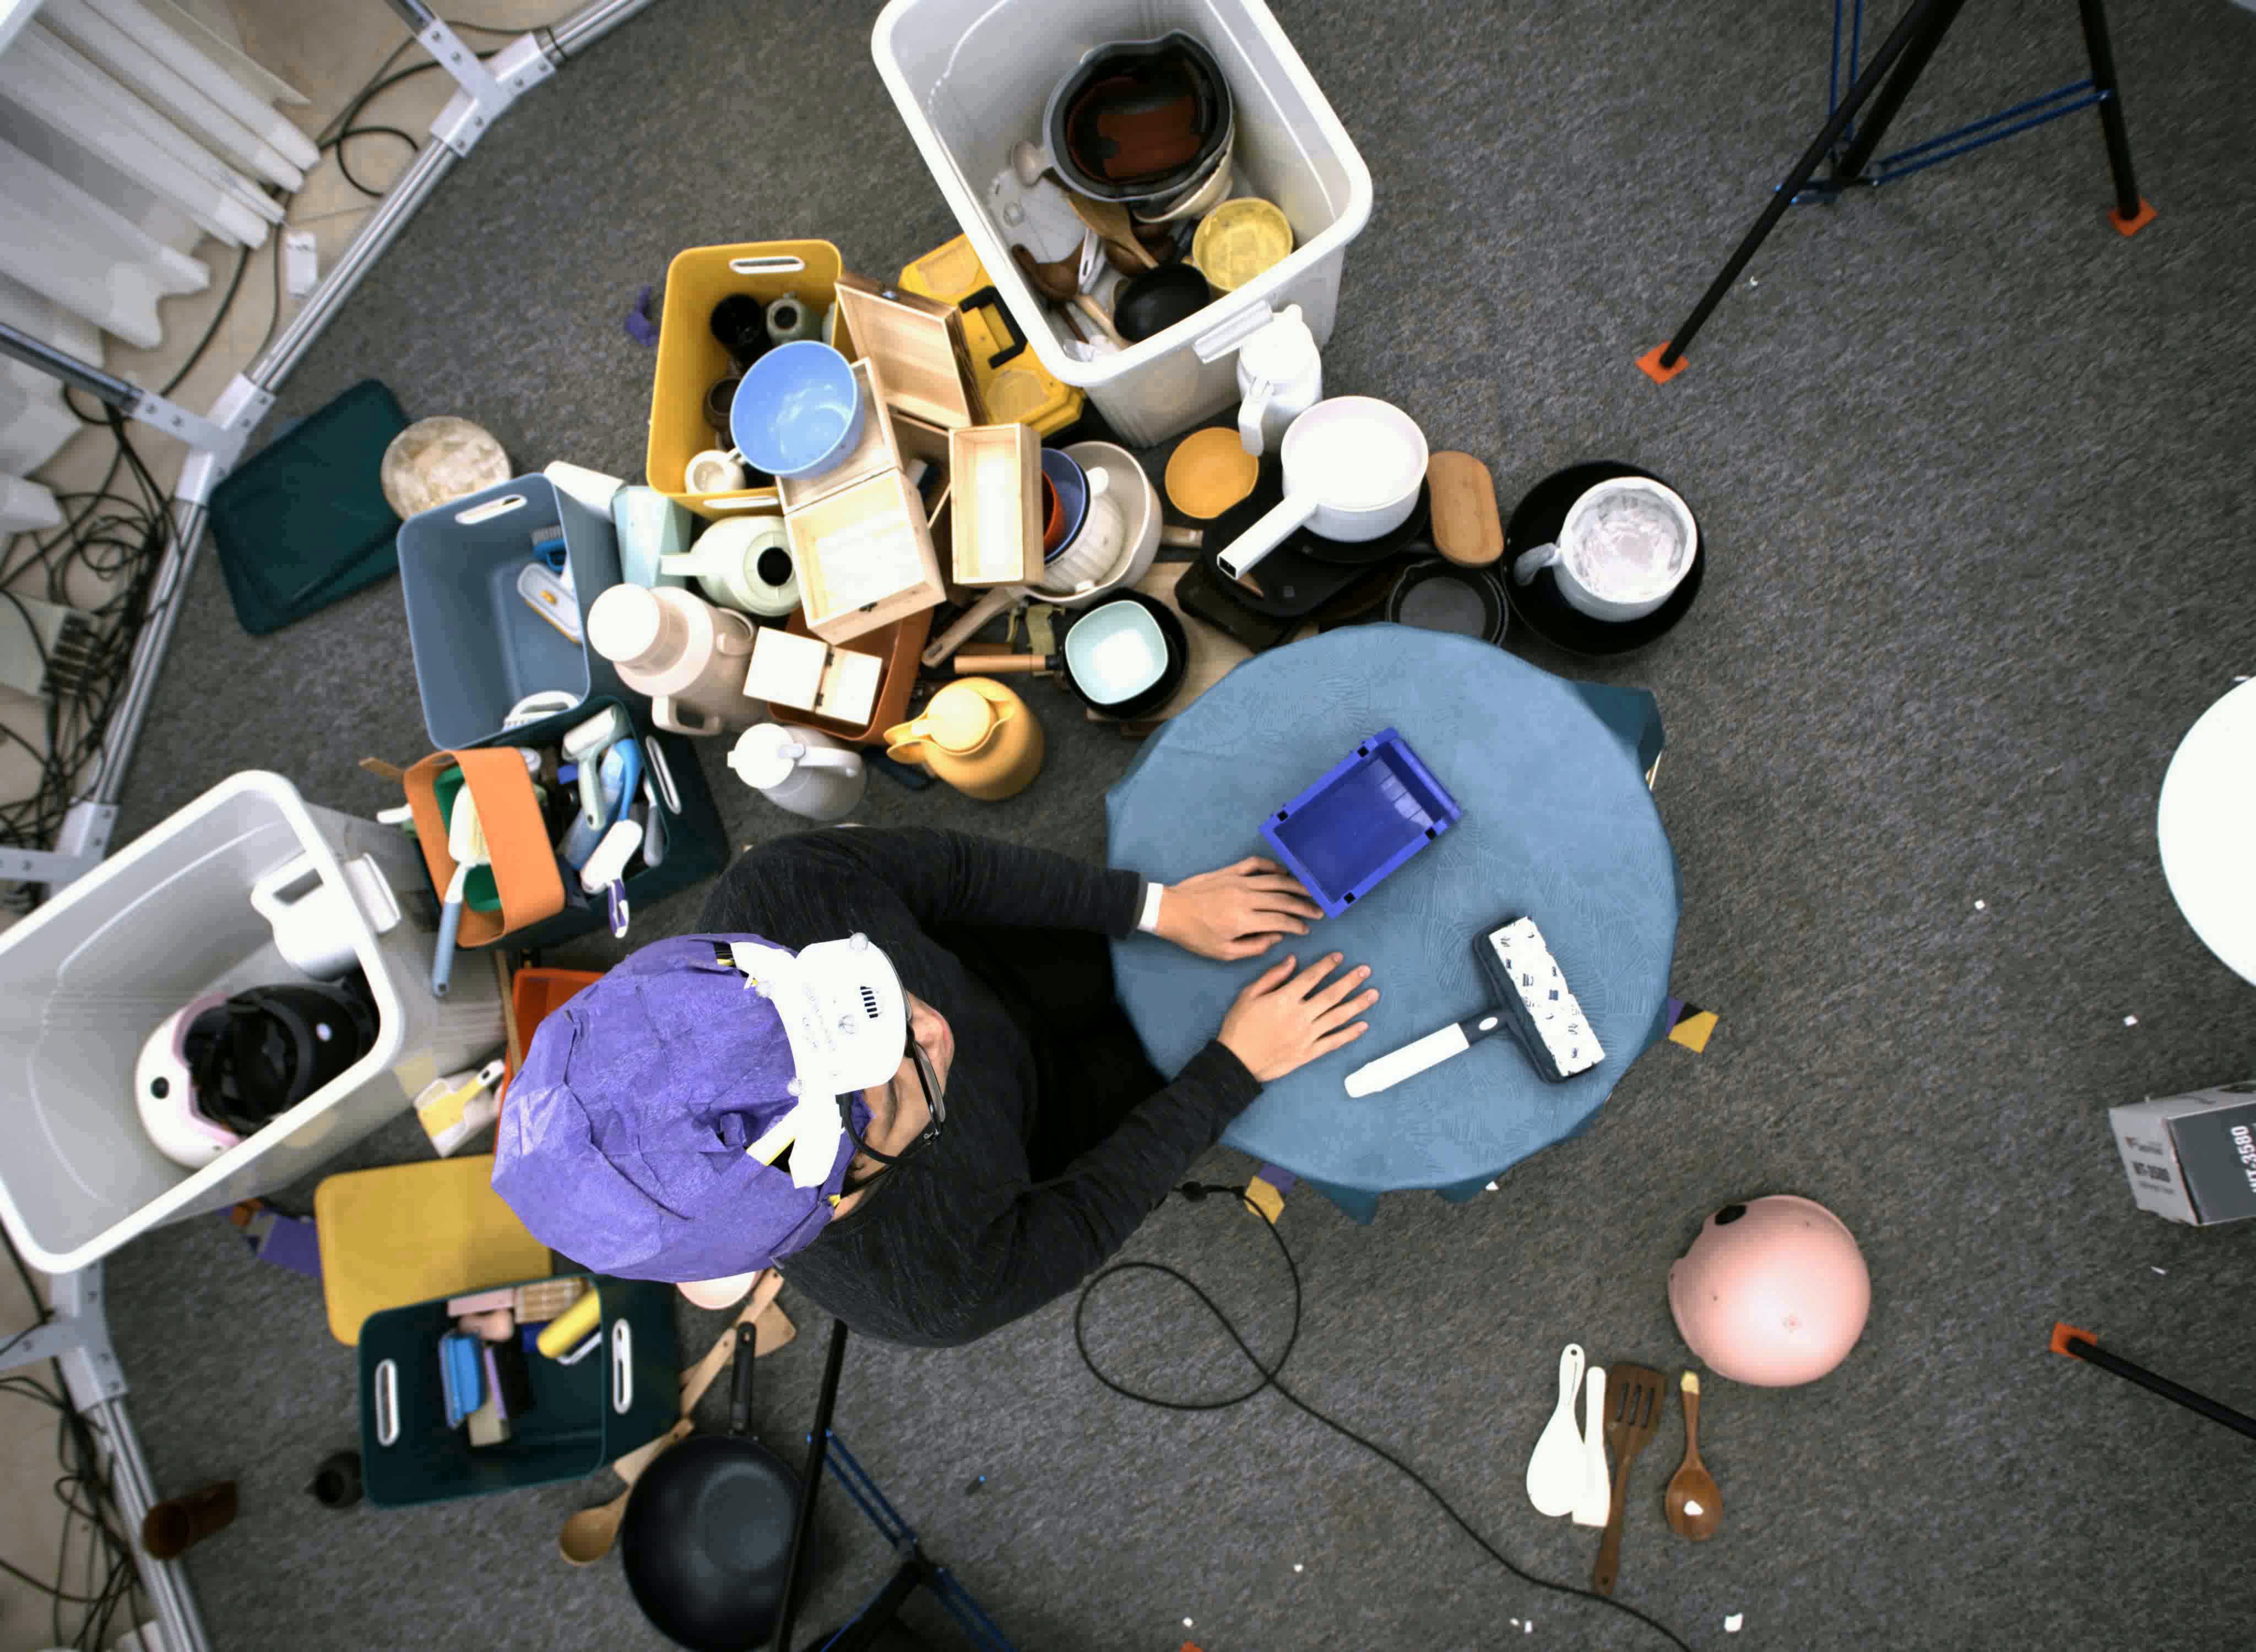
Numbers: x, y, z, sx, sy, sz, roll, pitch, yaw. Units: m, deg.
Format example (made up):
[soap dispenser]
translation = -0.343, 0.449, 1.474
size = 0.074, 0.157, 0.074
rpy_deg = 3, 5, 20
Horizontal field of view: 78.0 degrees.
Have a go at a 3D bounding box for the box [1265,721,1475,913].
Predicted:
[box]
translation = 0.250, -0.013, 1.427
size = 0.180, 0.082, 0.124
rpy_deg = -38, 80, 9

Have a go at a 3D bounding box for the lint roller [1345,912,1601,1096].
[lint roller]
translation = 0.337, 0.218, 1.418
size = 0.248, 0.050, 0.175
rpy_deg = -28, 83, 9
